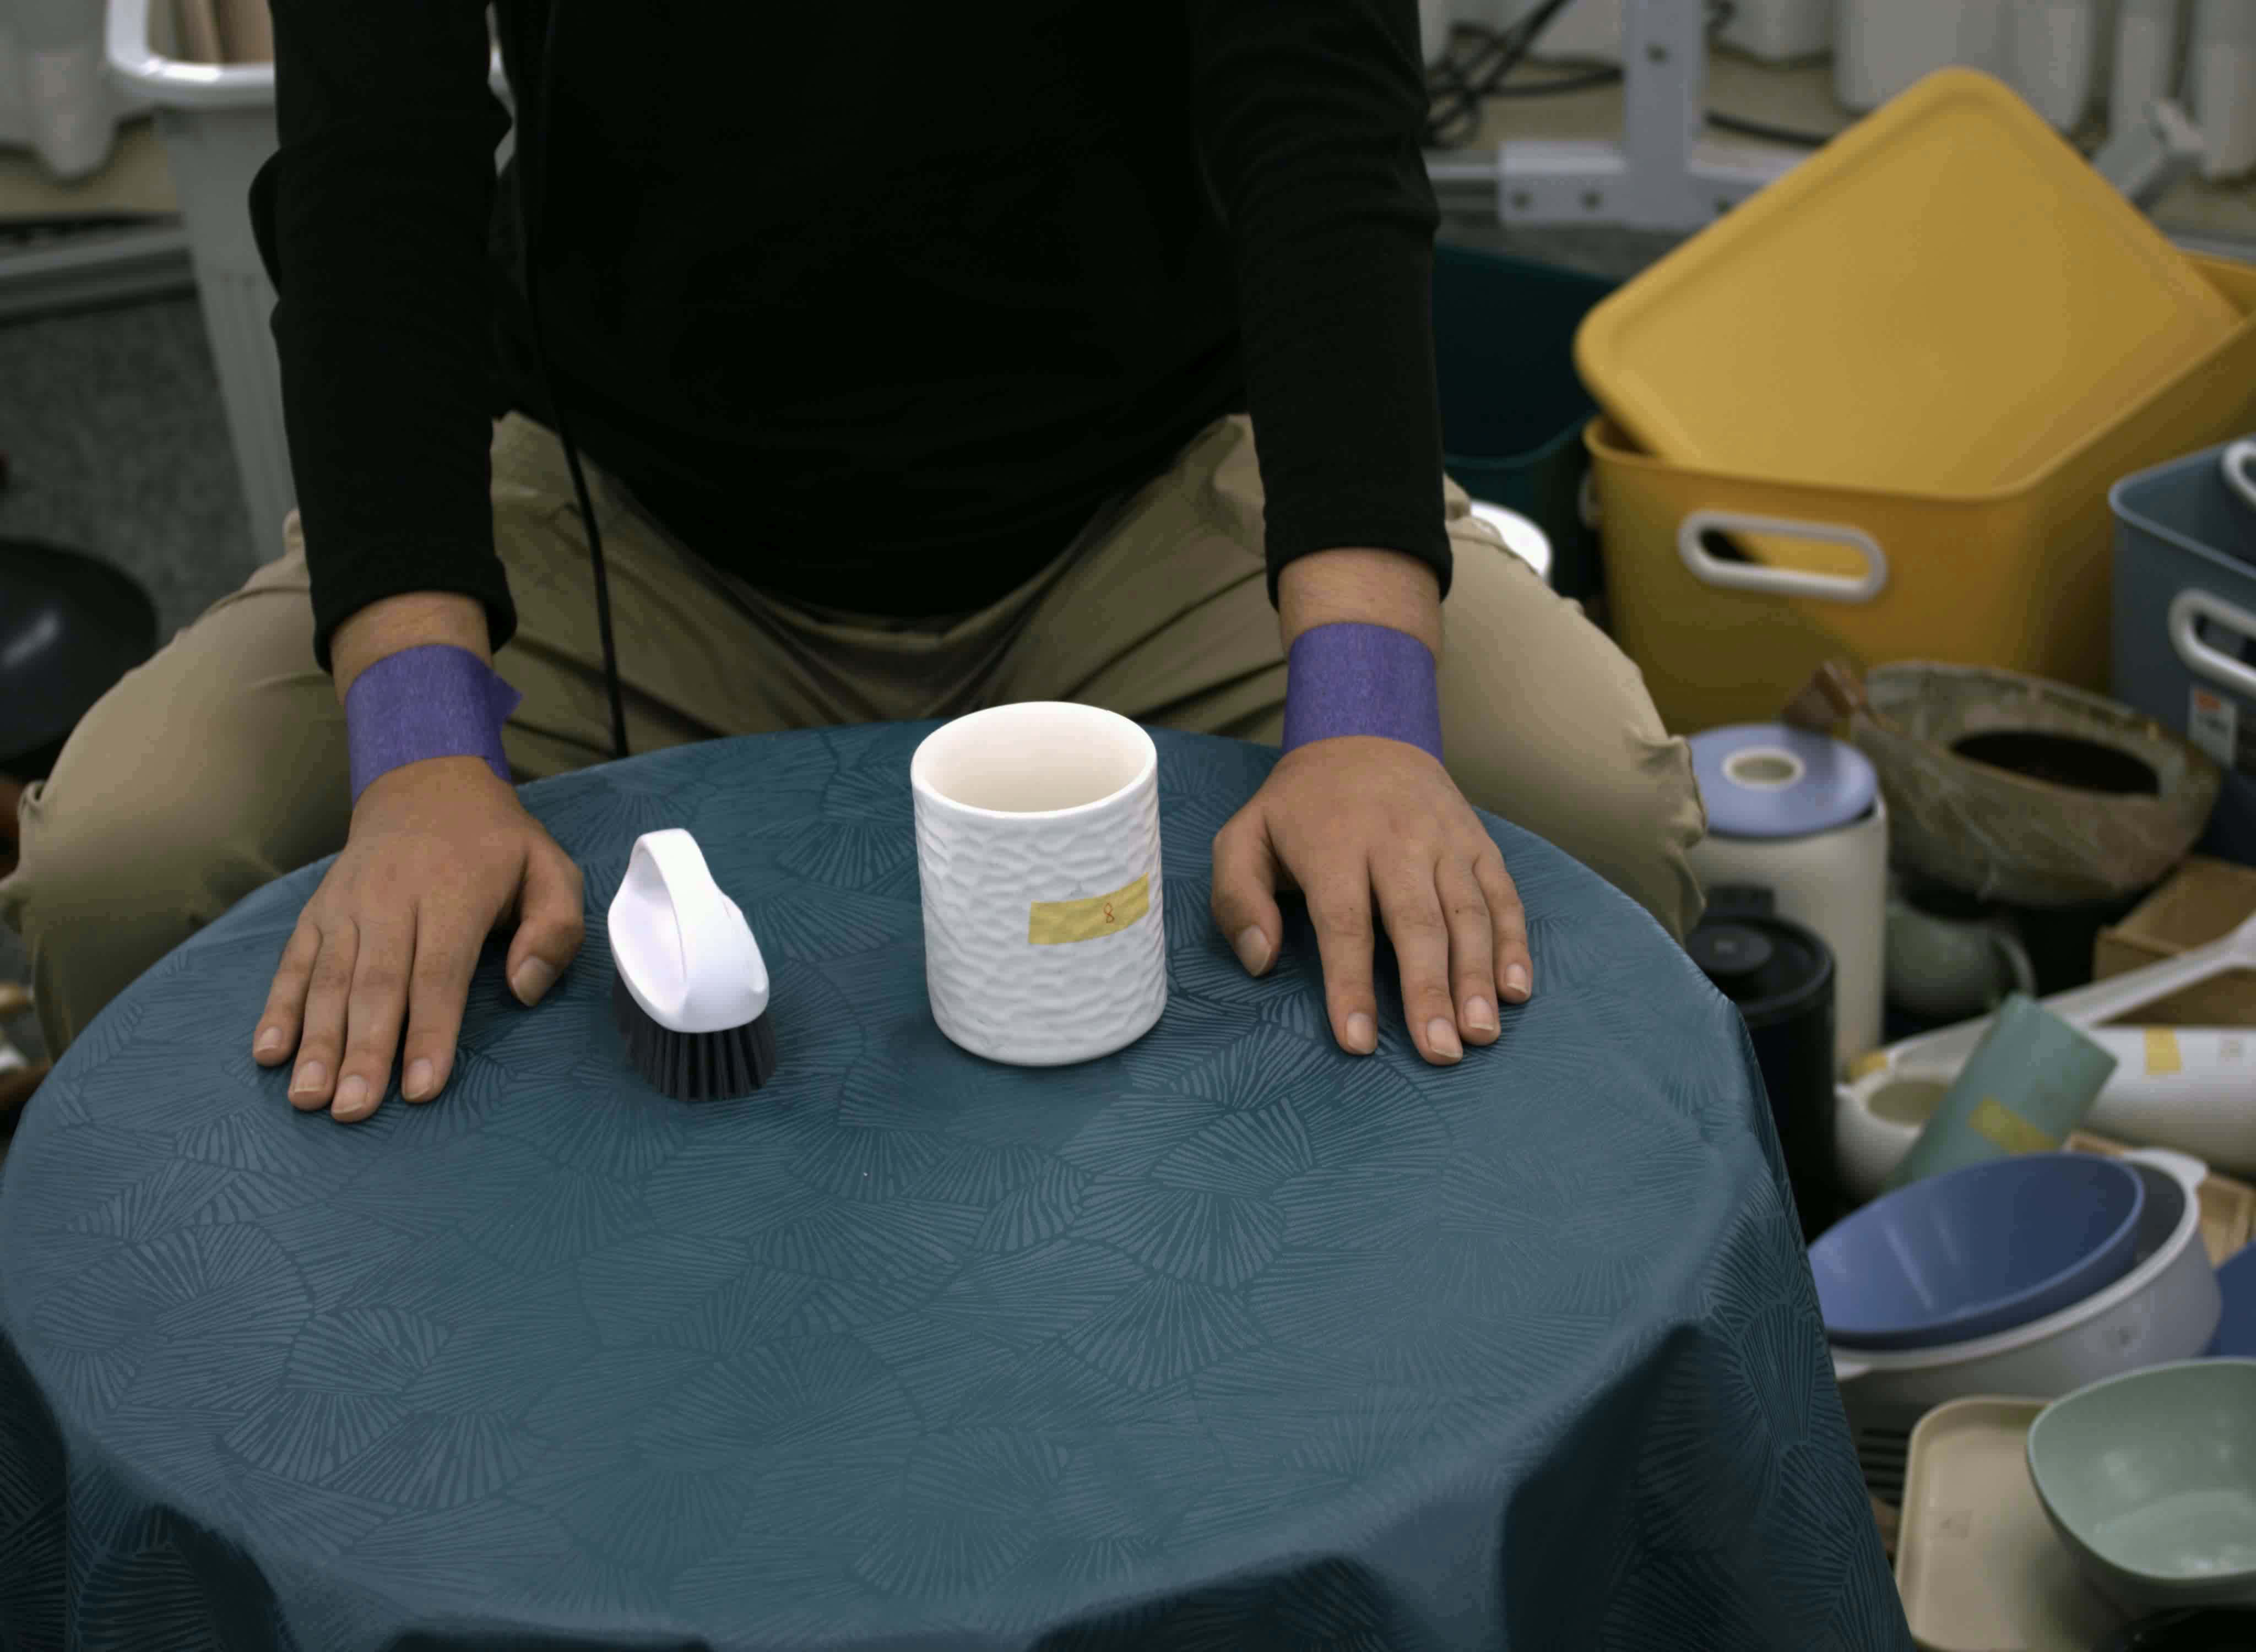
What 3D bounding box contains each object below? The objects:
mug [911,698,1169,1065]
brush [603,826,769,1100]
[{"bbox_3d":[-0.032,0.013,1.963,0.085,0.101,0.120,-6,26,-6],"label":"mug"},{"bbox_3d":[-0.155,0.041,1.953,0.050,0.072,0.100,-8,28,-13],"label":"brush"}]
